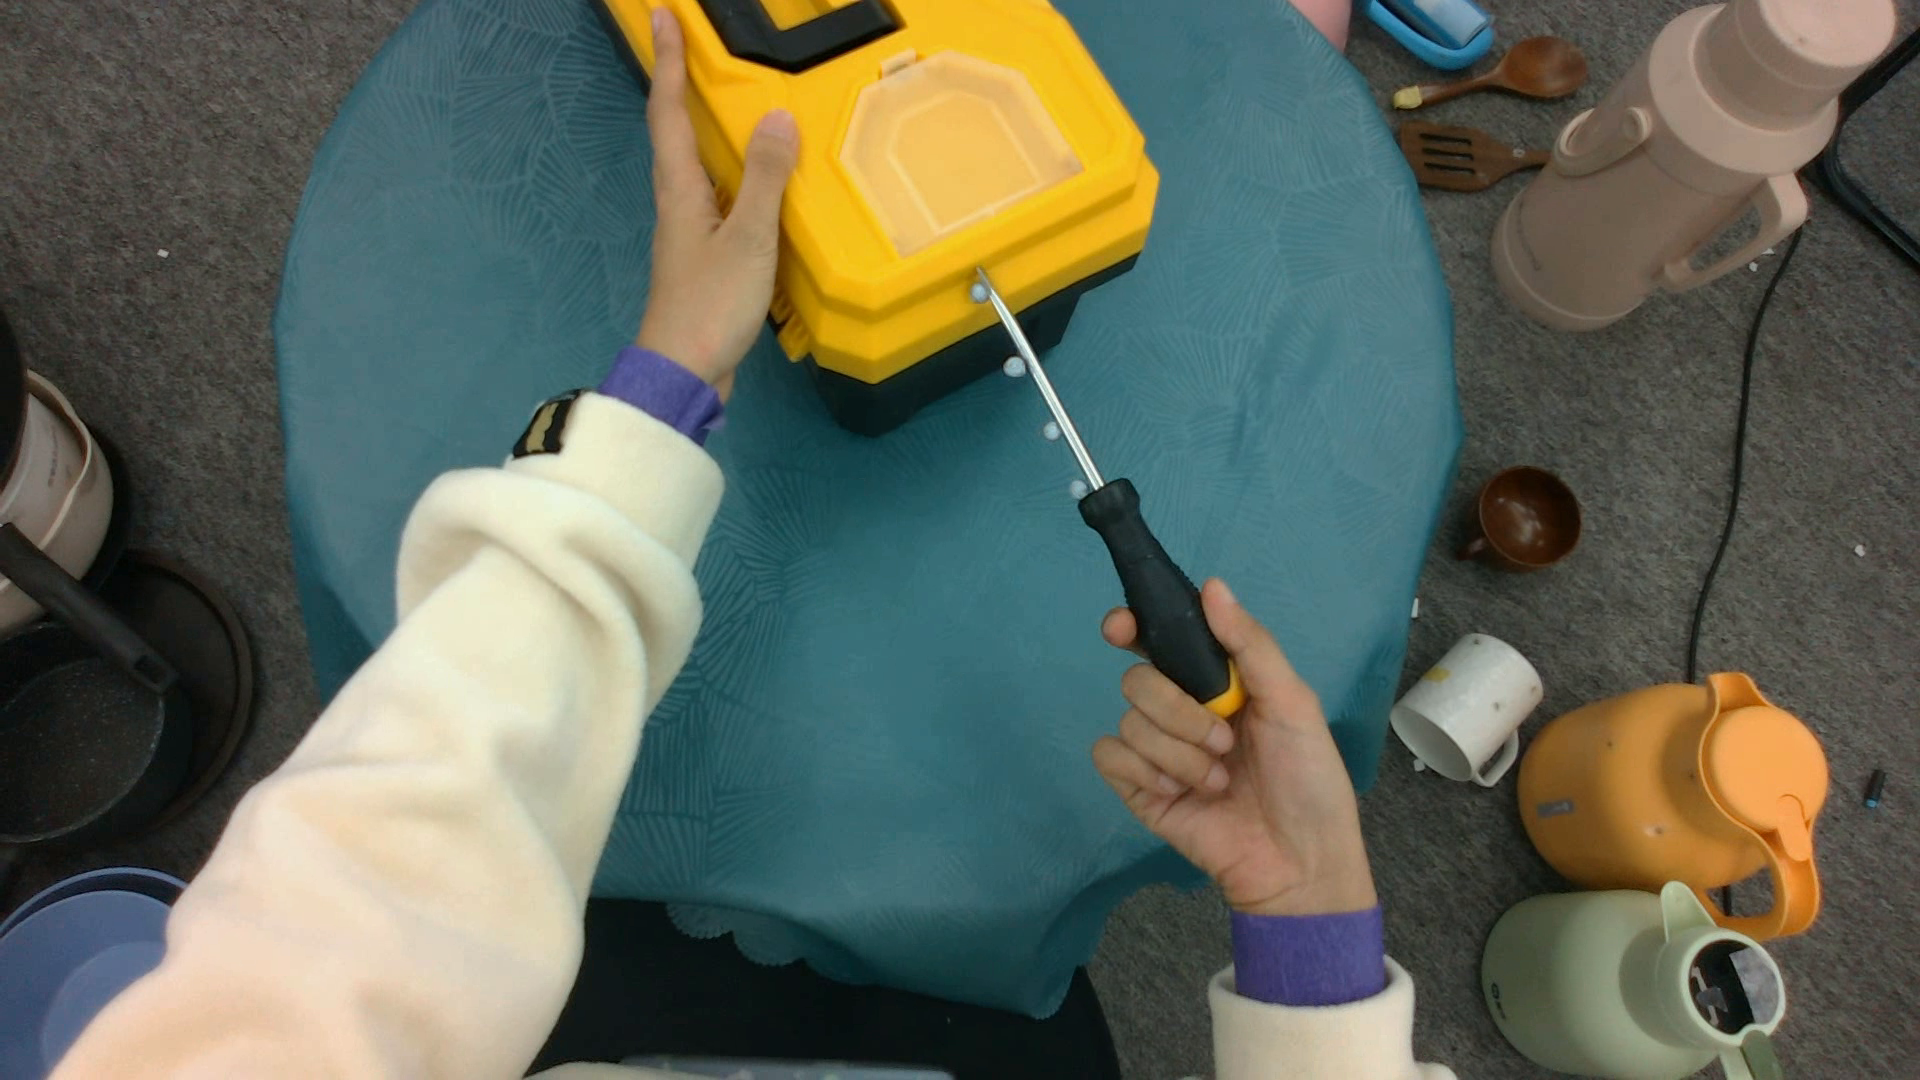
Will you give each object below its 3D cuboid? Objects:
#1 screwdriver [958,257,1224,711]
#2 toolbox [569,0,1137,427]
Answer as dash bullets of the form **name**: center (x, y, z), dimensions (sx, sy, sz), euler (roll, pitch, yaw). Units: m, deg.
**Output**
- **screwdriver**: center (0.045, -0.025, 0.524), dimensions (0.031, 0.031, 0.198), euler (-27, 83, -13)
- **toolbox**: center (-0.078, -0.236, 0.647), dimensions (0.181, 0.172, 0.352), euler (-28, 78, -13)
